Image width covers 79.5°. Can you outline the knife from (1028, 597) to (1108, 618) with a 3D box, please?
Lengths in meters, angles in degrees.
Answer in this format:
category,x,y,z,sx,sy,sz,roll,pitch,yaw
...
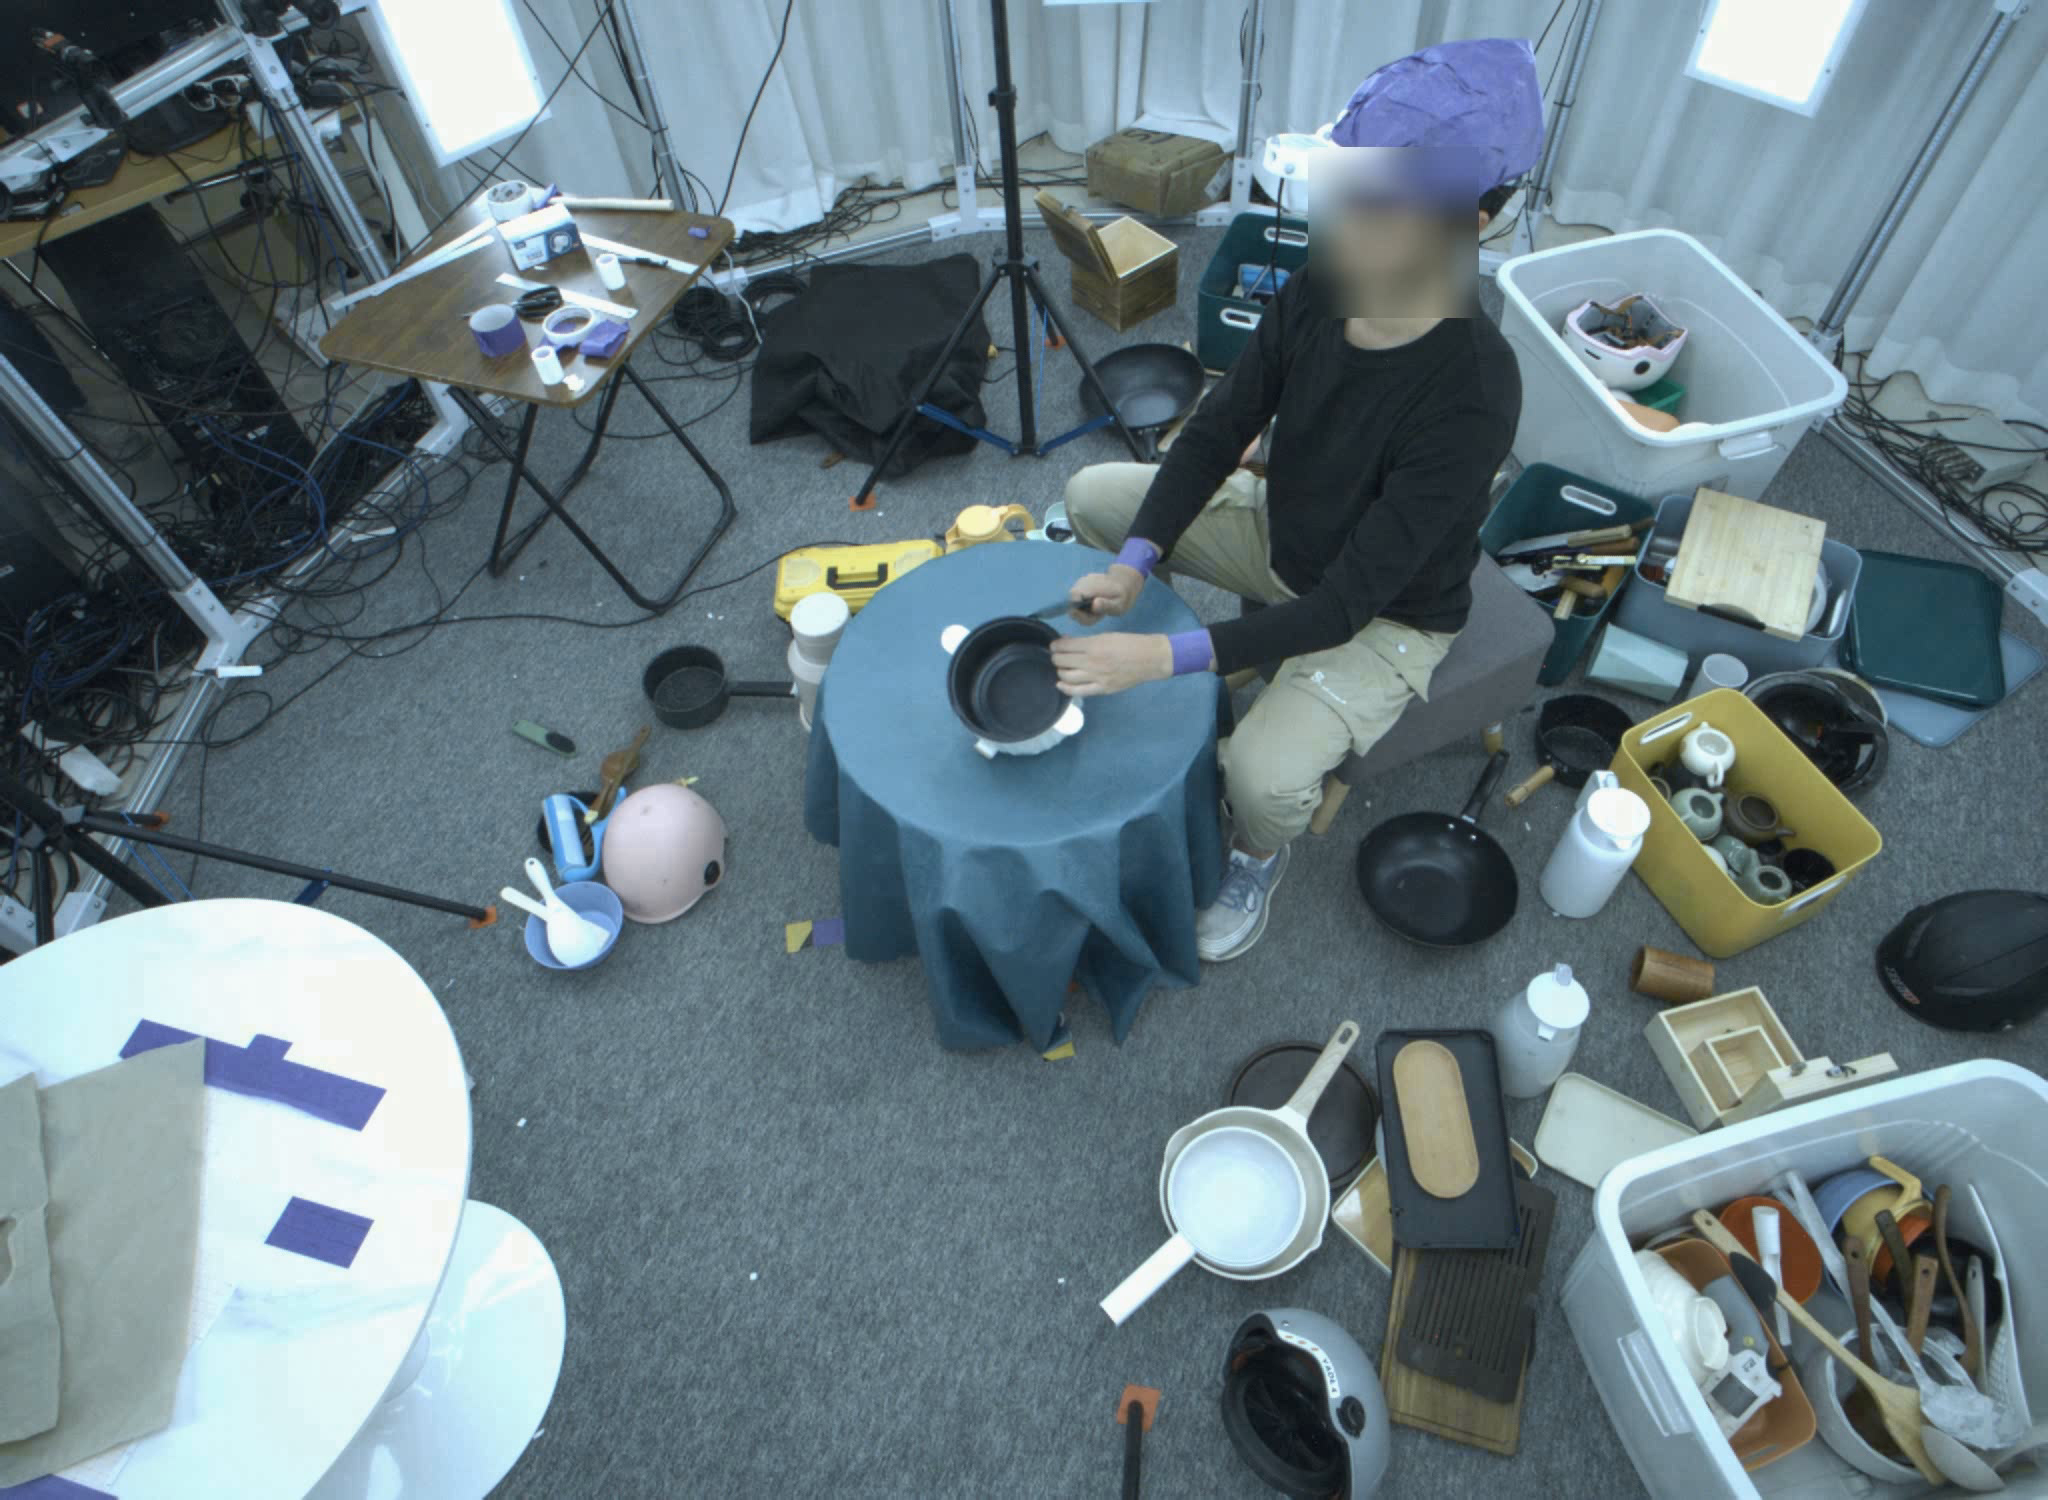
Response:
category,x,y,z,sx,sy,sz,roll,pitch,yaw
knife,0.068,-0.200,1.732,0.080,0.305,0.021,-20,91,19

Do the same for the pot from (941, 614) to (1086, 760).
category,x,y,z,sx,sy,sz,roll,pitch,yaw
pot,-0.008,-0.079,1.734,0.237,0.144,0.190,35,82,15
